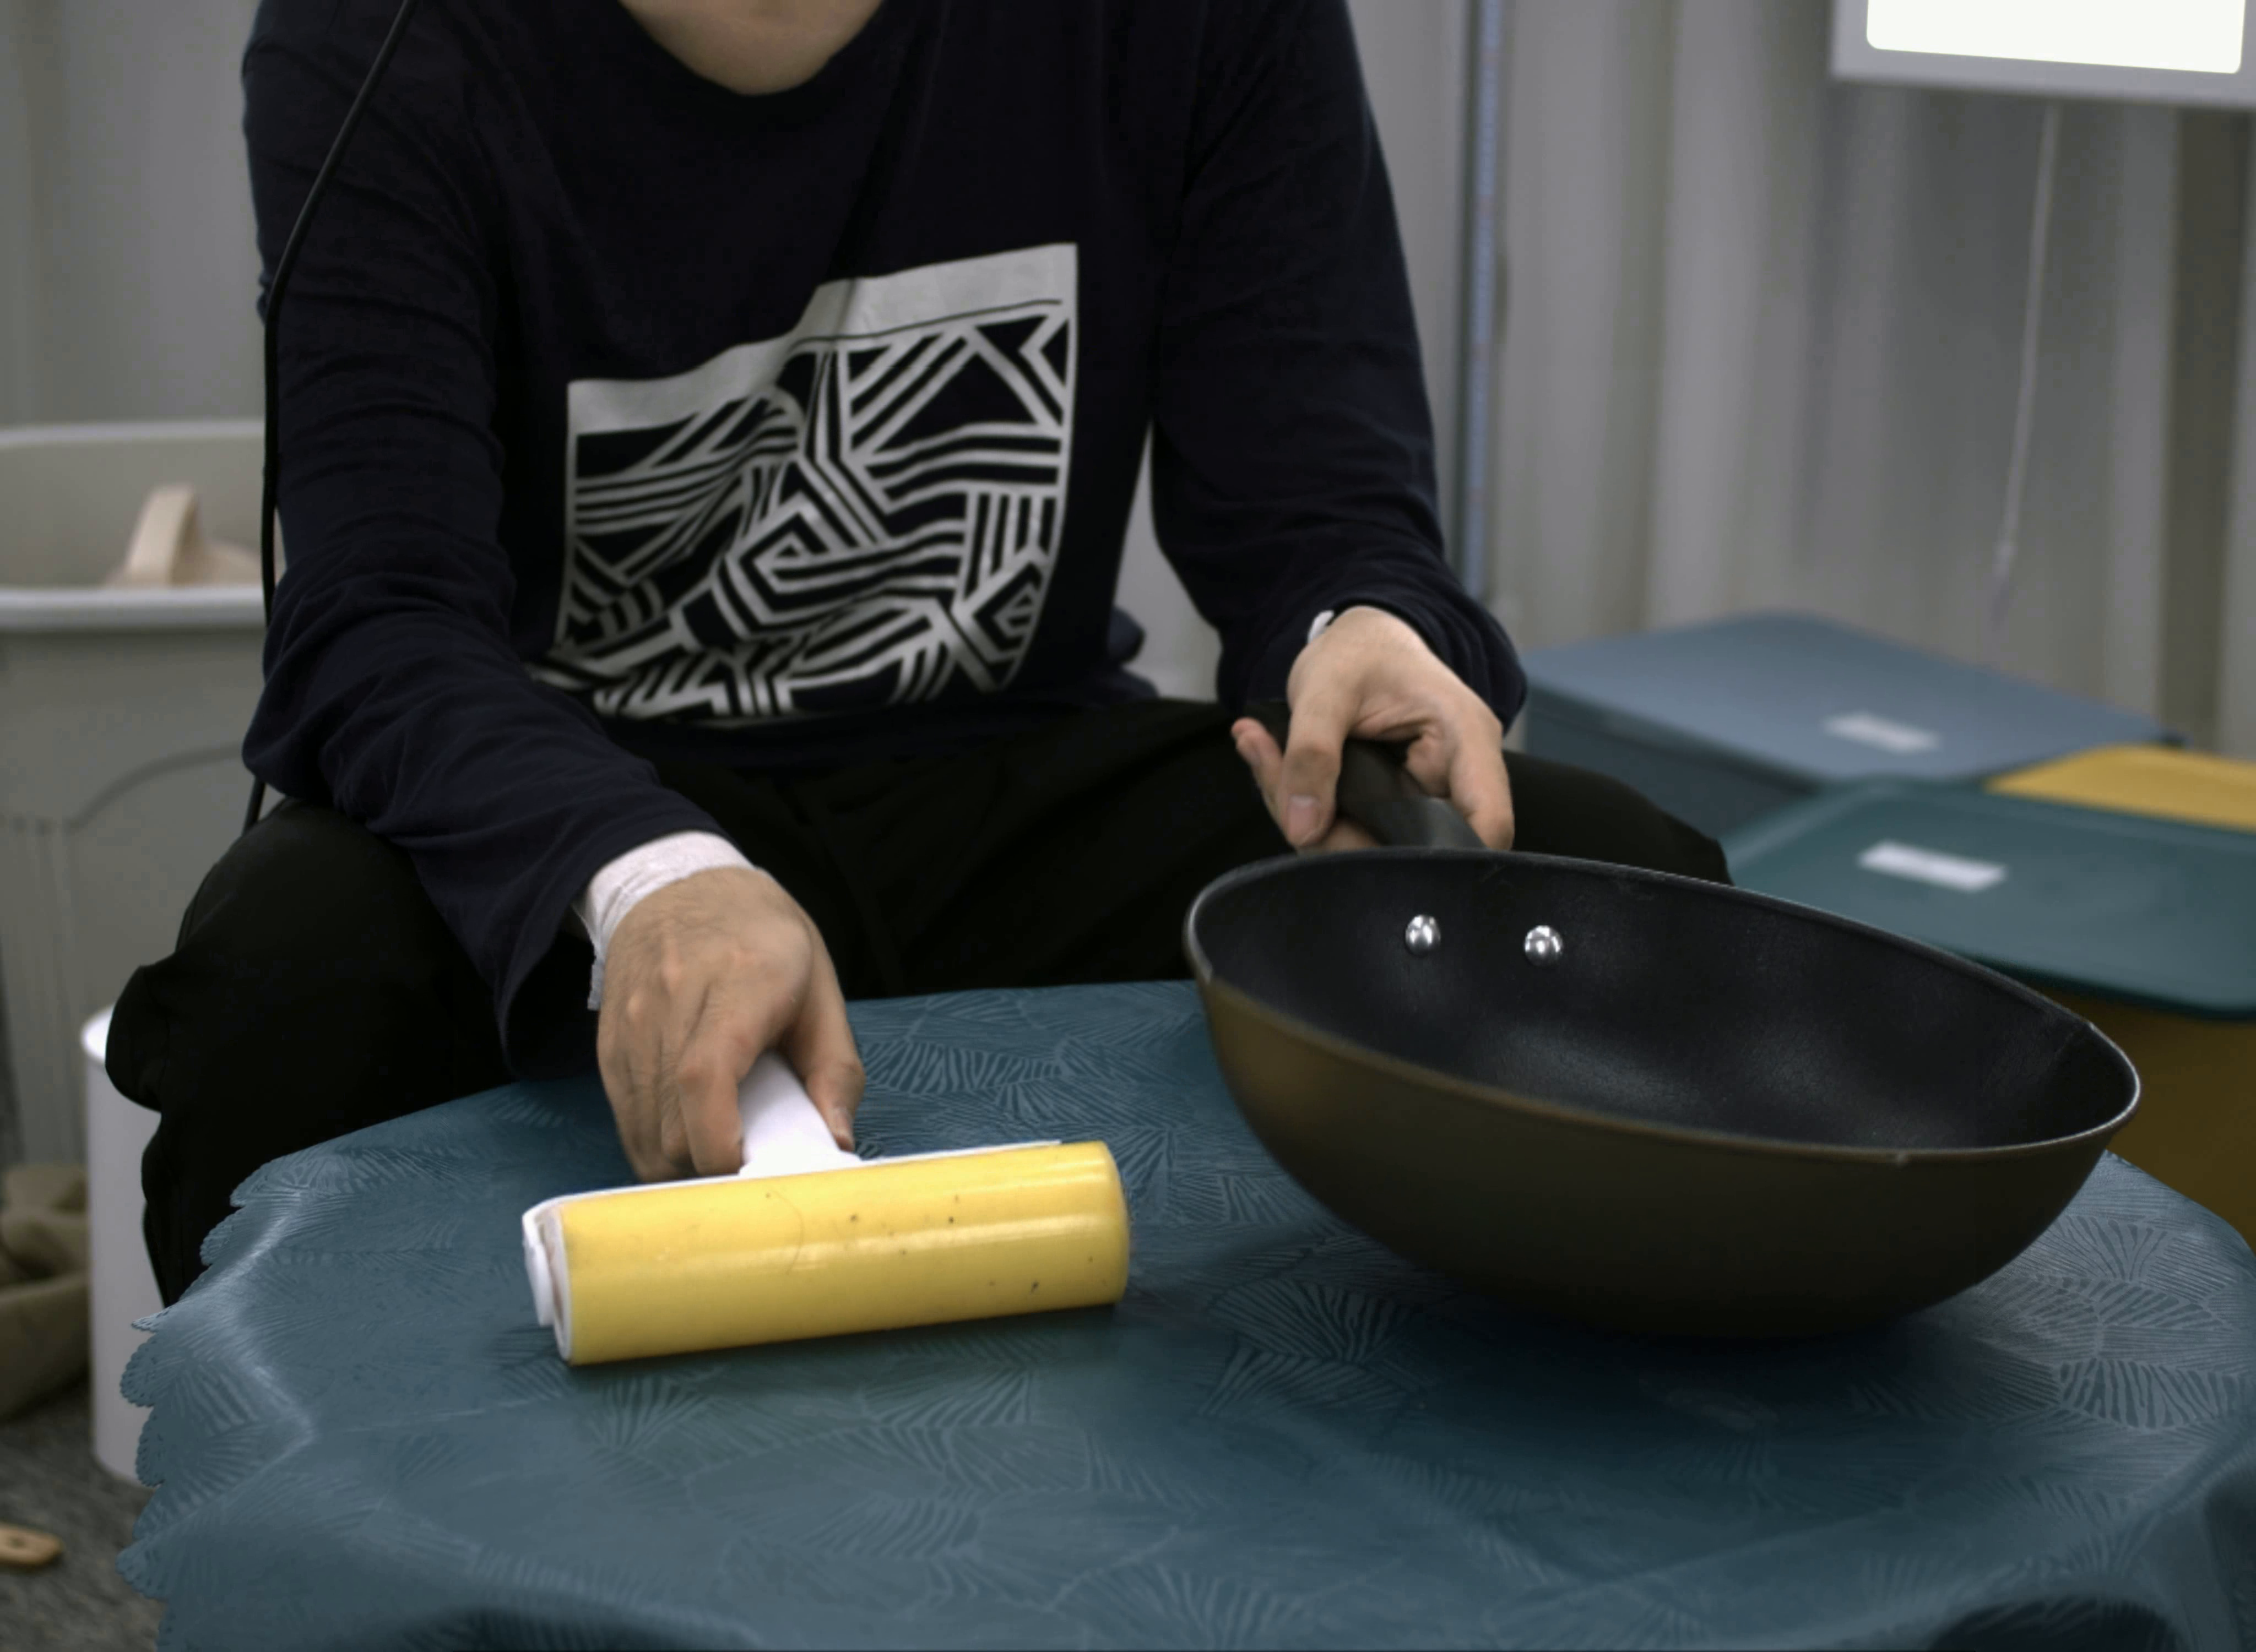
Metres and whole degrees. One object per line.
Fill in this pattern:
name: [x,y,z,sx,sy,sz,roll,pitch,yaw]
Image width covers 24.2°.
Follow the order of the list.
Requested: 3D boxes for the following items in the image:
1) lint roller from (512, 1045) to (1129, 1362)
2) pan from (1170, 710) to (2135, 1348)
lint roller: [-0.103,0.093,1.553,0.174,0.052,0.190,-5,26,-14]
pan: [0.117,0.060,1.618,0.289,0.087,0.458,3,16,-21]
